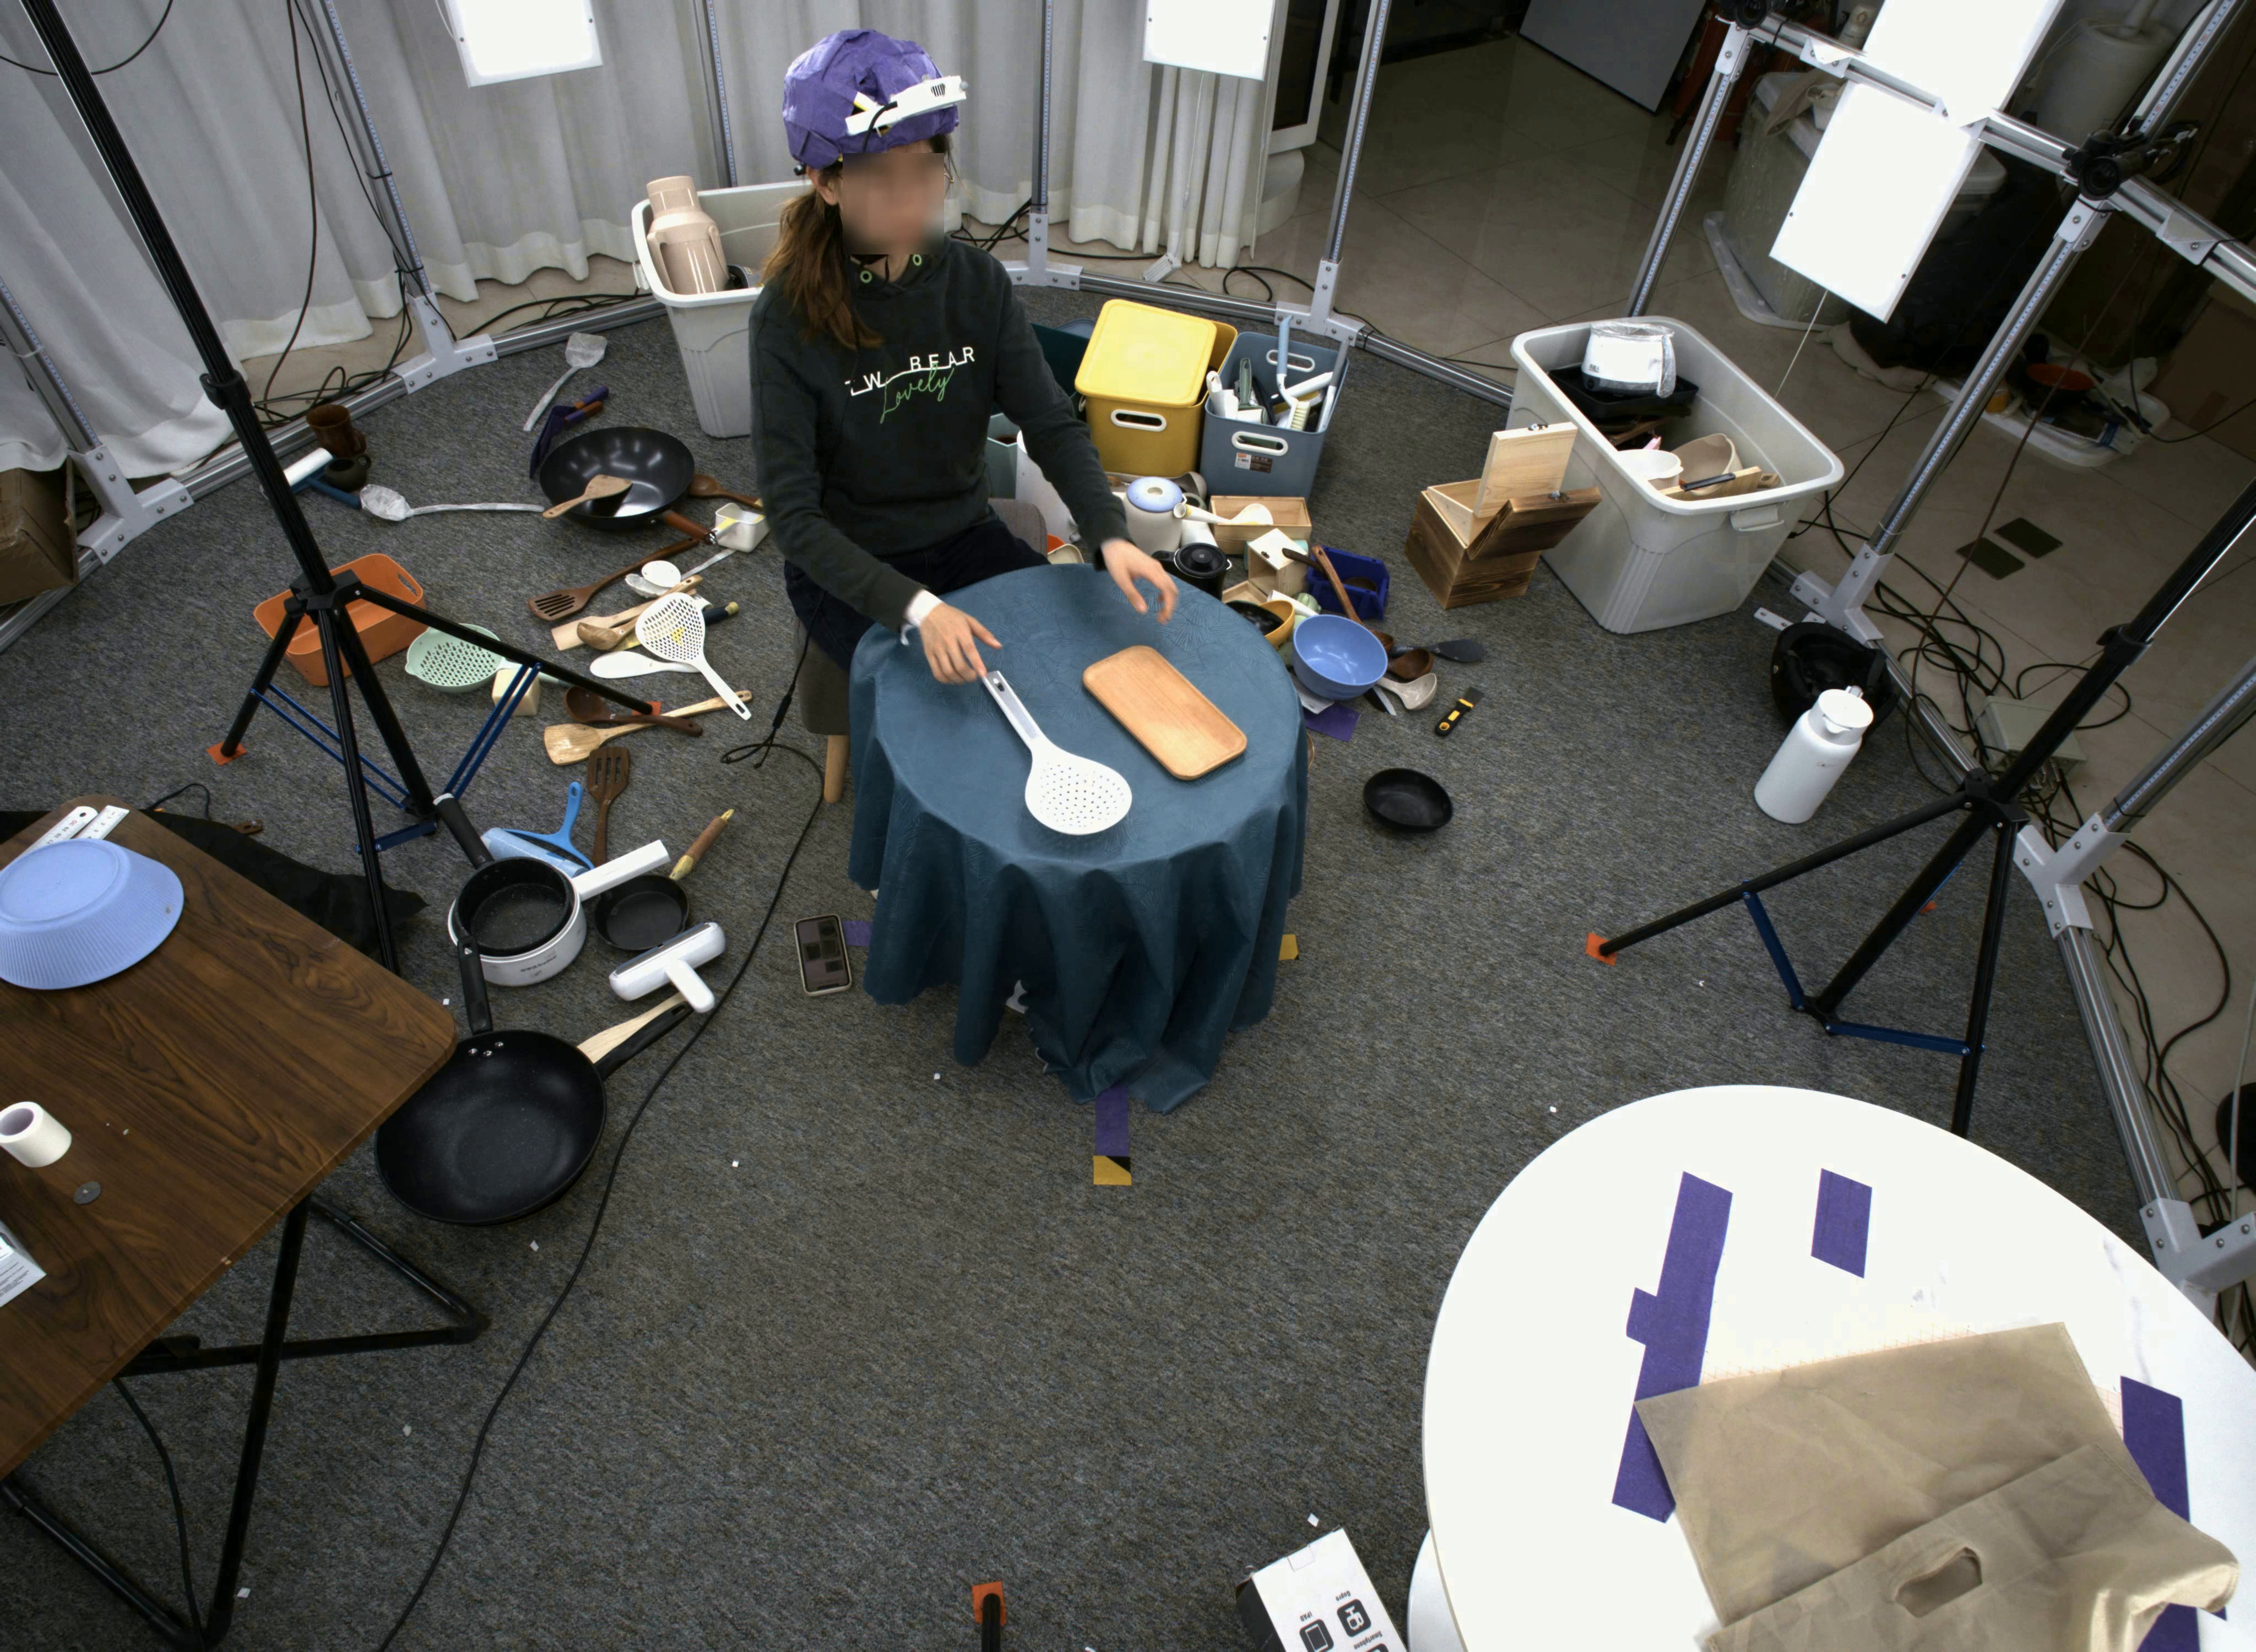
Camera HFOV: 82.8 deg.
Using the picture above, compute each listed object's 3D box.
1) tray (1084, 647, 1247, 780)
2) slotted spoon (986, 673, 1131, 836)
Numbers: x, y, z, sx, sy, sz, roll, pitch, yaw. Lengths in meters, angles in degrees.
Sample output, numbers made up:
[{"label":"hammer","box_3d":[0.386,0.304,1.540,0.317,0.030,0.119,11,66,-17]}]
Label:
[{"label":"tray","box_3d":[0.050,-0.162,1.818,0.131,0.022,0.255,-26,54,-26]},{"label":"slotted spoon","box_3d":[-0.114,-0.102,1.736,0.136,0.044,0.357,-17,51,-22]}]
